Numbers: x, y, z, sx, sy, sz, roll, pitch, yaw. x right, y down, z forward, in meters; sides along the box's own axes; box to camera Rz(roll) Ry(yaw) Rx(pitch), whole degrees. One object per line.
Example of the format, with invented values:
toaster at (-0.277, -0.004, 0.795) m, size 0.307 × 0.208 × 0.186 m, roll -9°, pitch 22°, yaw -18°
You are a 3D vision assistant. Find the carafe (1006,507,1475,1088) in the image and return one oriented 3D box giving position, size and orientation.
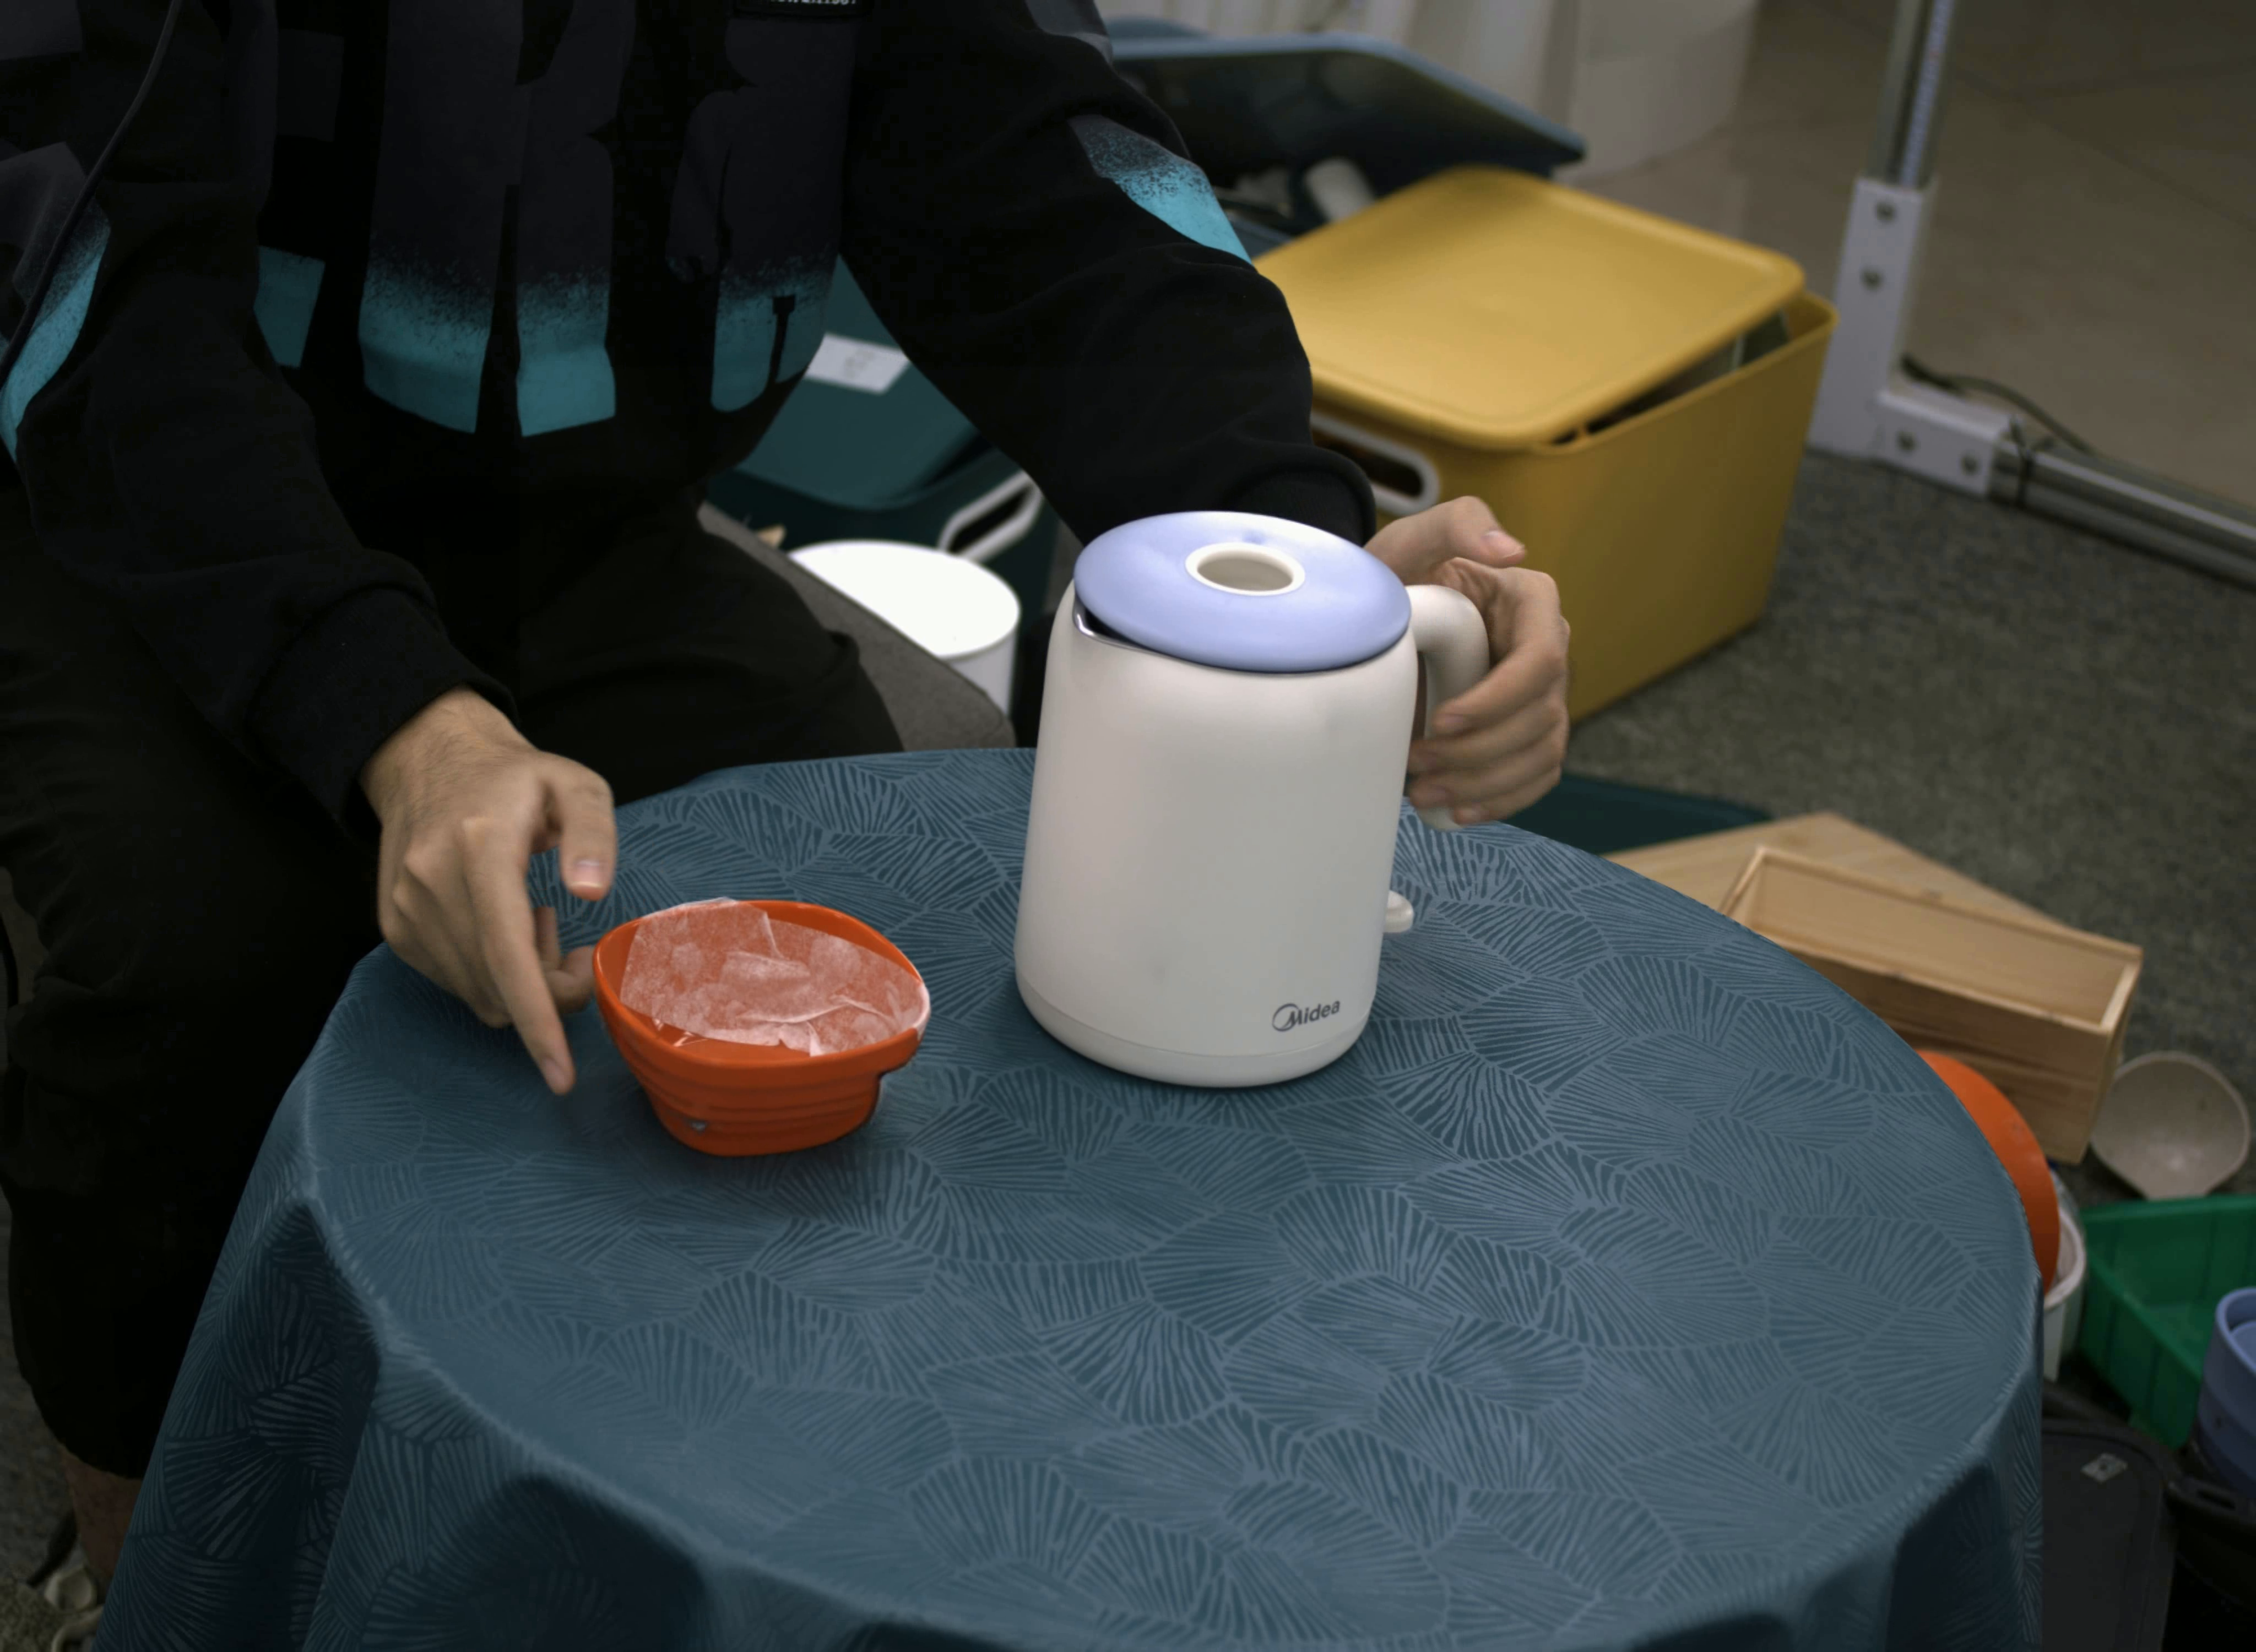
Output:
carafe at (0.049, -0.015, 1.895) m, size 0.190 × 0.182 × 0.133 m, roll -11°, pitch 33°, yaw -36°

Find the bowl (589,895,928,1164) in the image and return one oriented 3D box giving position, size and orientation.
bowl at (-0.127, 0.074, 1.815) m, size 0.118 × 0.051 × 0.120 m, roll 3°, pitch 31°, yaw -2°
